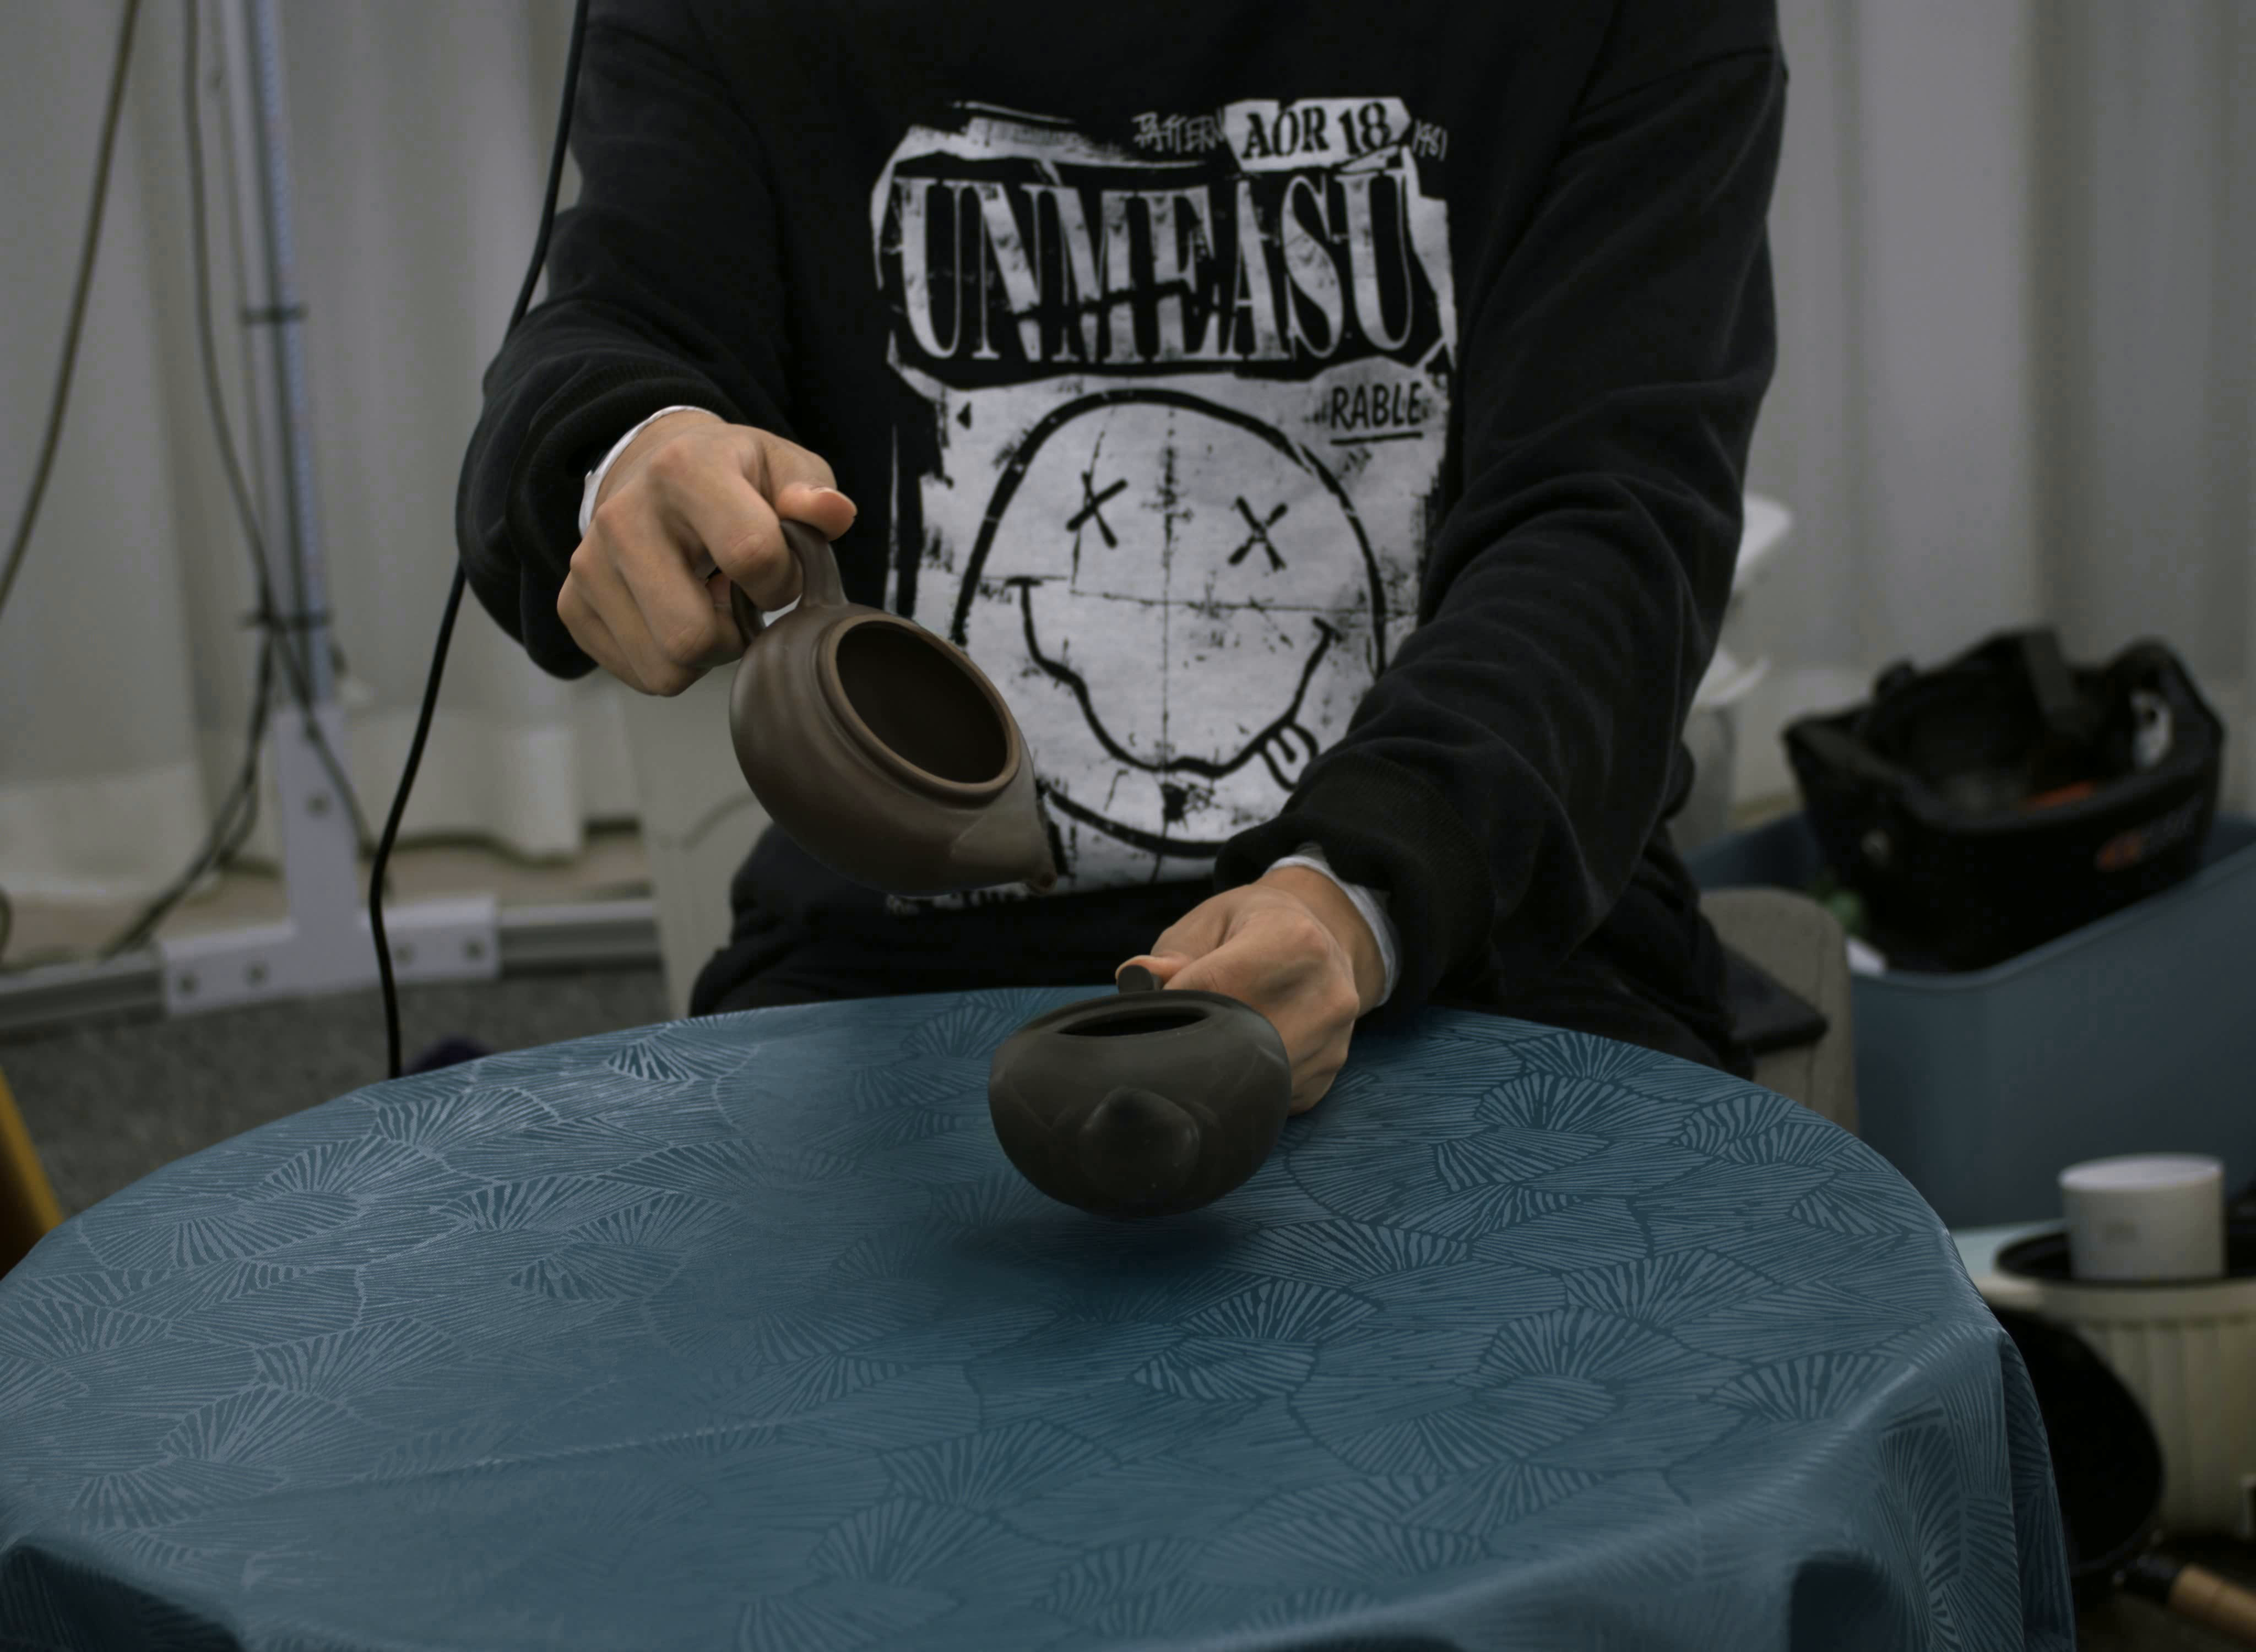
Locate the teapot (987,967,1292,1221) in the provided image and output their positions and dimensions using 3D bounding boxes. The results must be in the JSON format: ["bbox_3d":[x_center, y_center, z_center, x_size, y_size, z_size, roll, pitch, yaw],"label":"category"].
[{"bbox_3d":[0.004,0.082,1.663,0.092,0.064,0.155,-3,13,4],"label":"teapot"}]

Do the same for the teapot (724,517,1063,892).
[{"bbox_3d":[-0.076,-0.029,1.664,0.155,0.053,0.102,53,32,17],"label":"teapot"}]
